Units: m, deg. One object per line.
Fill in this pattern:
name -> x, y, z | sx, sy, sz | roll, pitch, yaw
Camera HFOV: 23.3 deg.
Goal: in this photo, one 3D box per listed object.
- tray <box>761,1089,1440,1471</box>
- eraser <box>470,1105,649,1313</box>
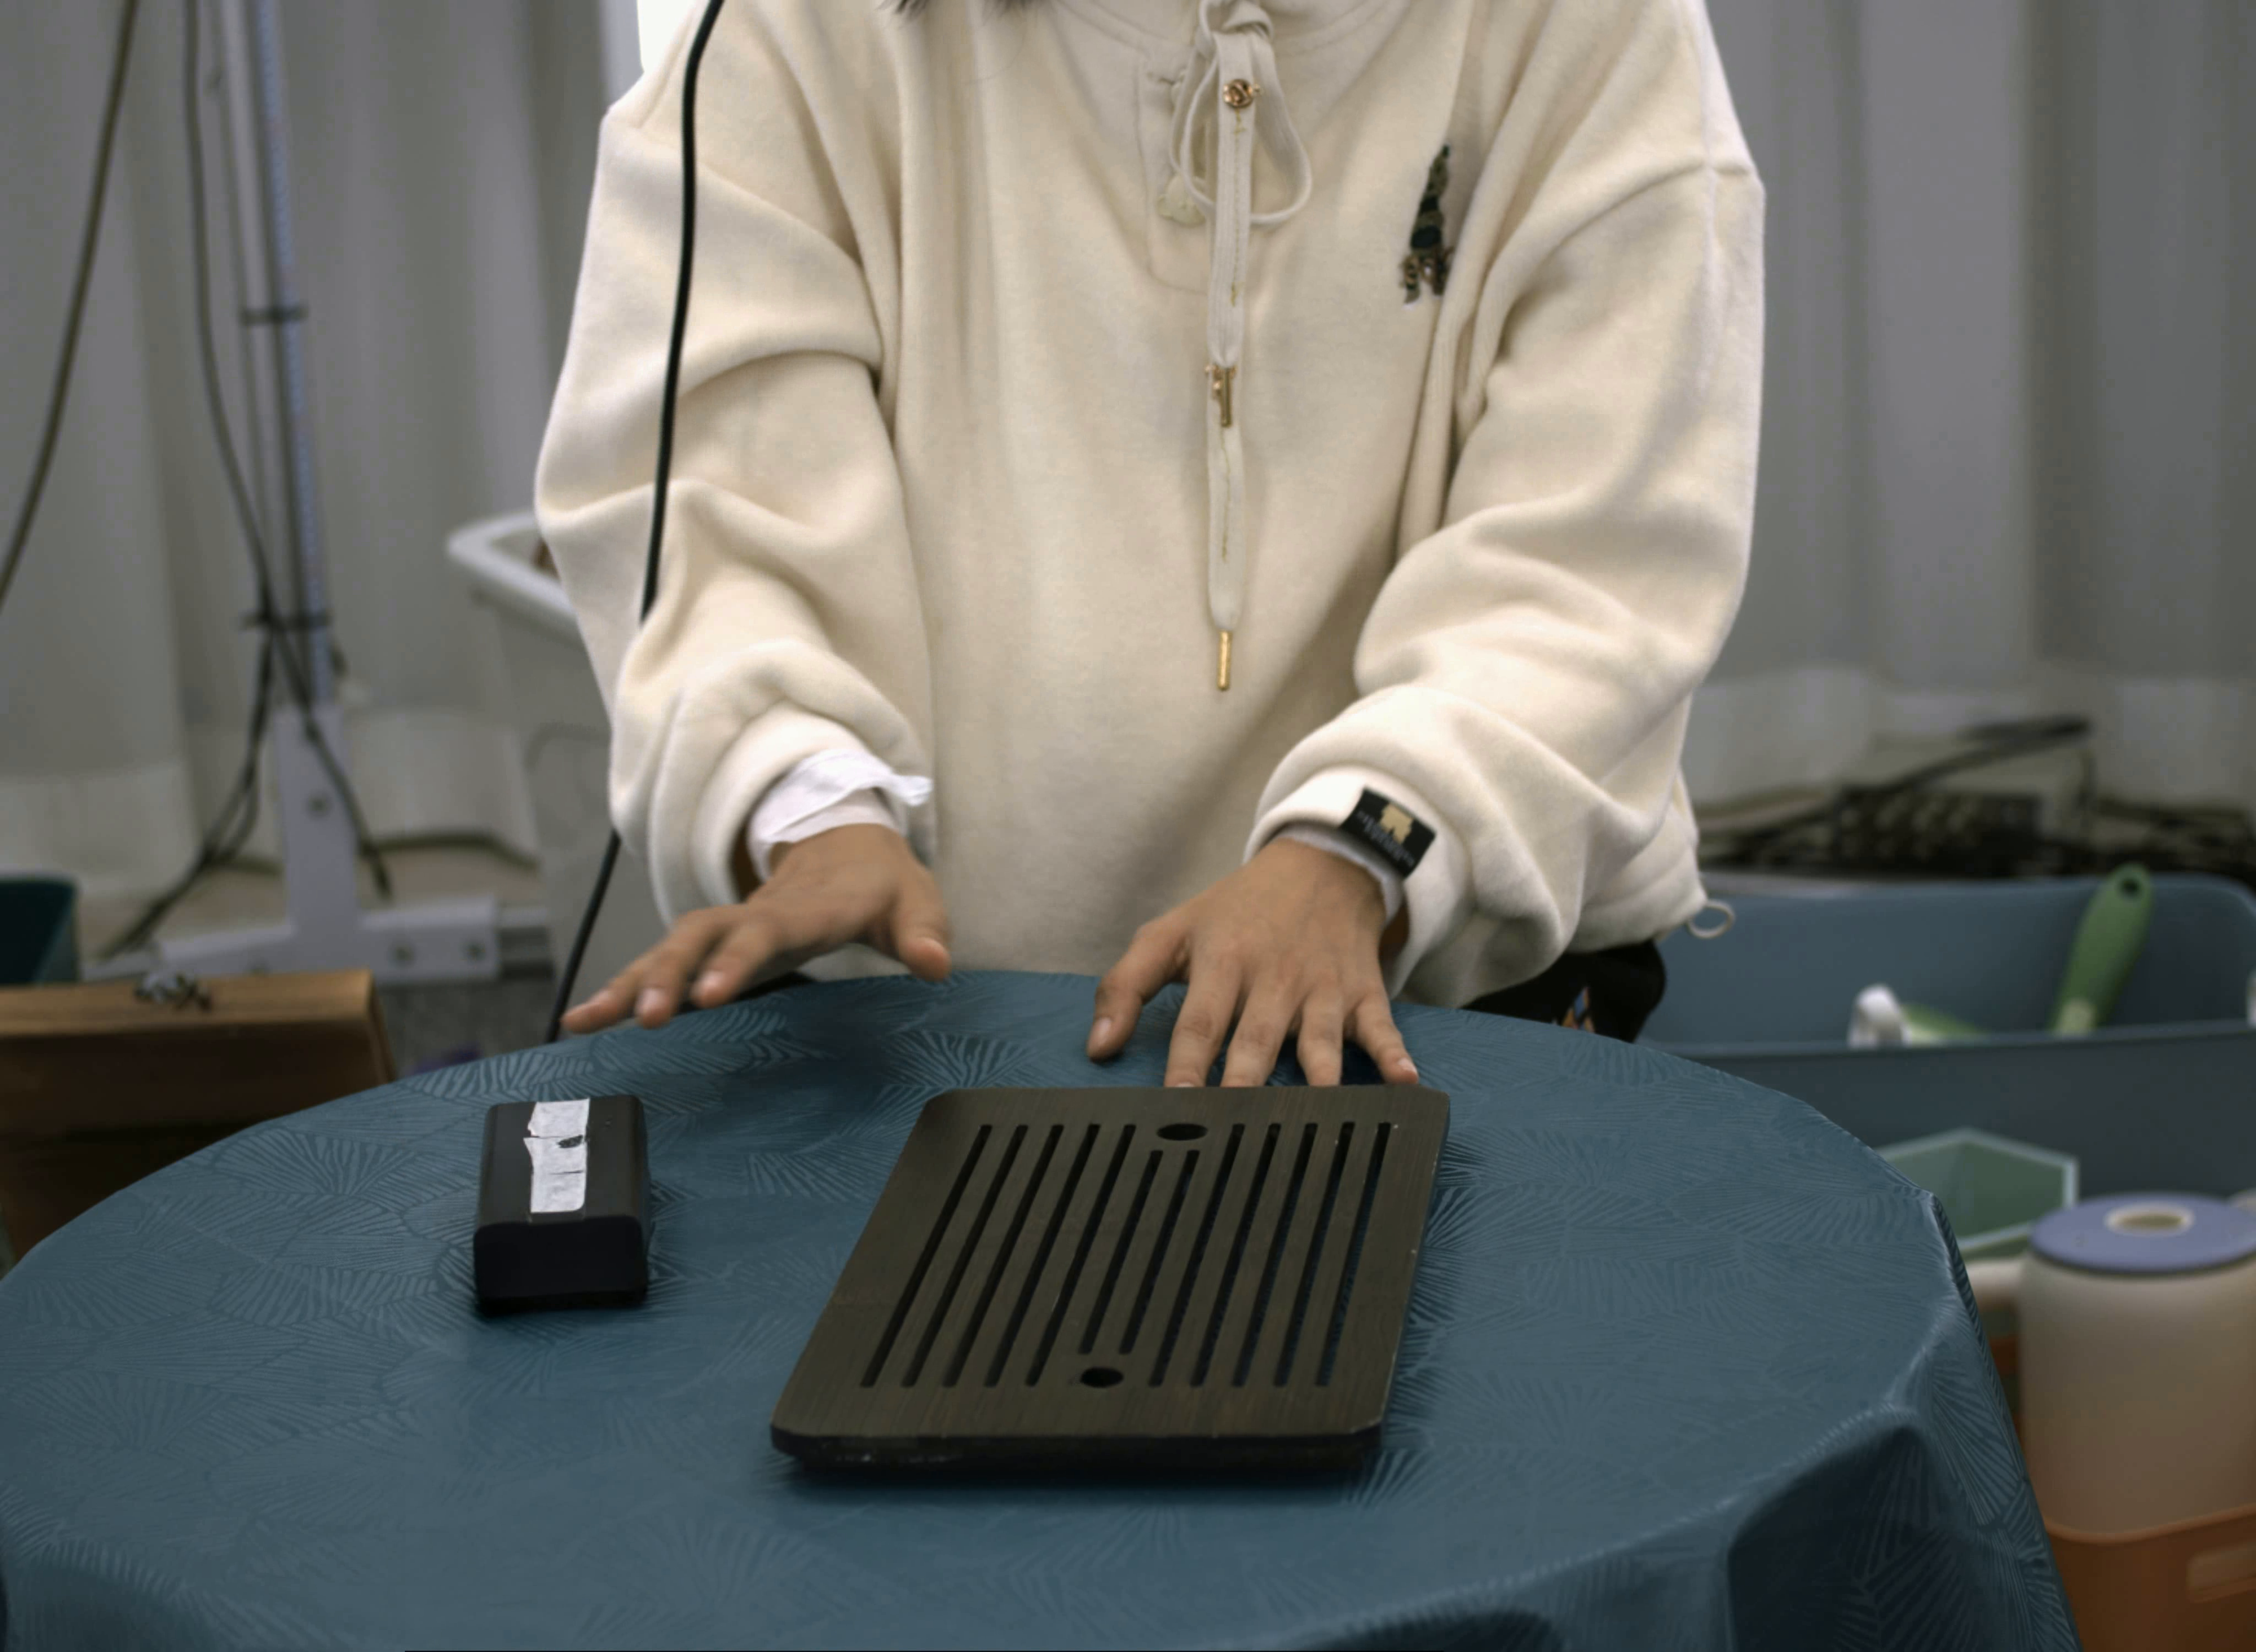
tray -> -0.001, 0.132, 1.614 | 0.170, 0.018, 0.307 | -1, 15, 7
eraser -> -0.174, 0.117, 1.686 | 0.053, 0.030, 0.126 | -1, 14, -5
